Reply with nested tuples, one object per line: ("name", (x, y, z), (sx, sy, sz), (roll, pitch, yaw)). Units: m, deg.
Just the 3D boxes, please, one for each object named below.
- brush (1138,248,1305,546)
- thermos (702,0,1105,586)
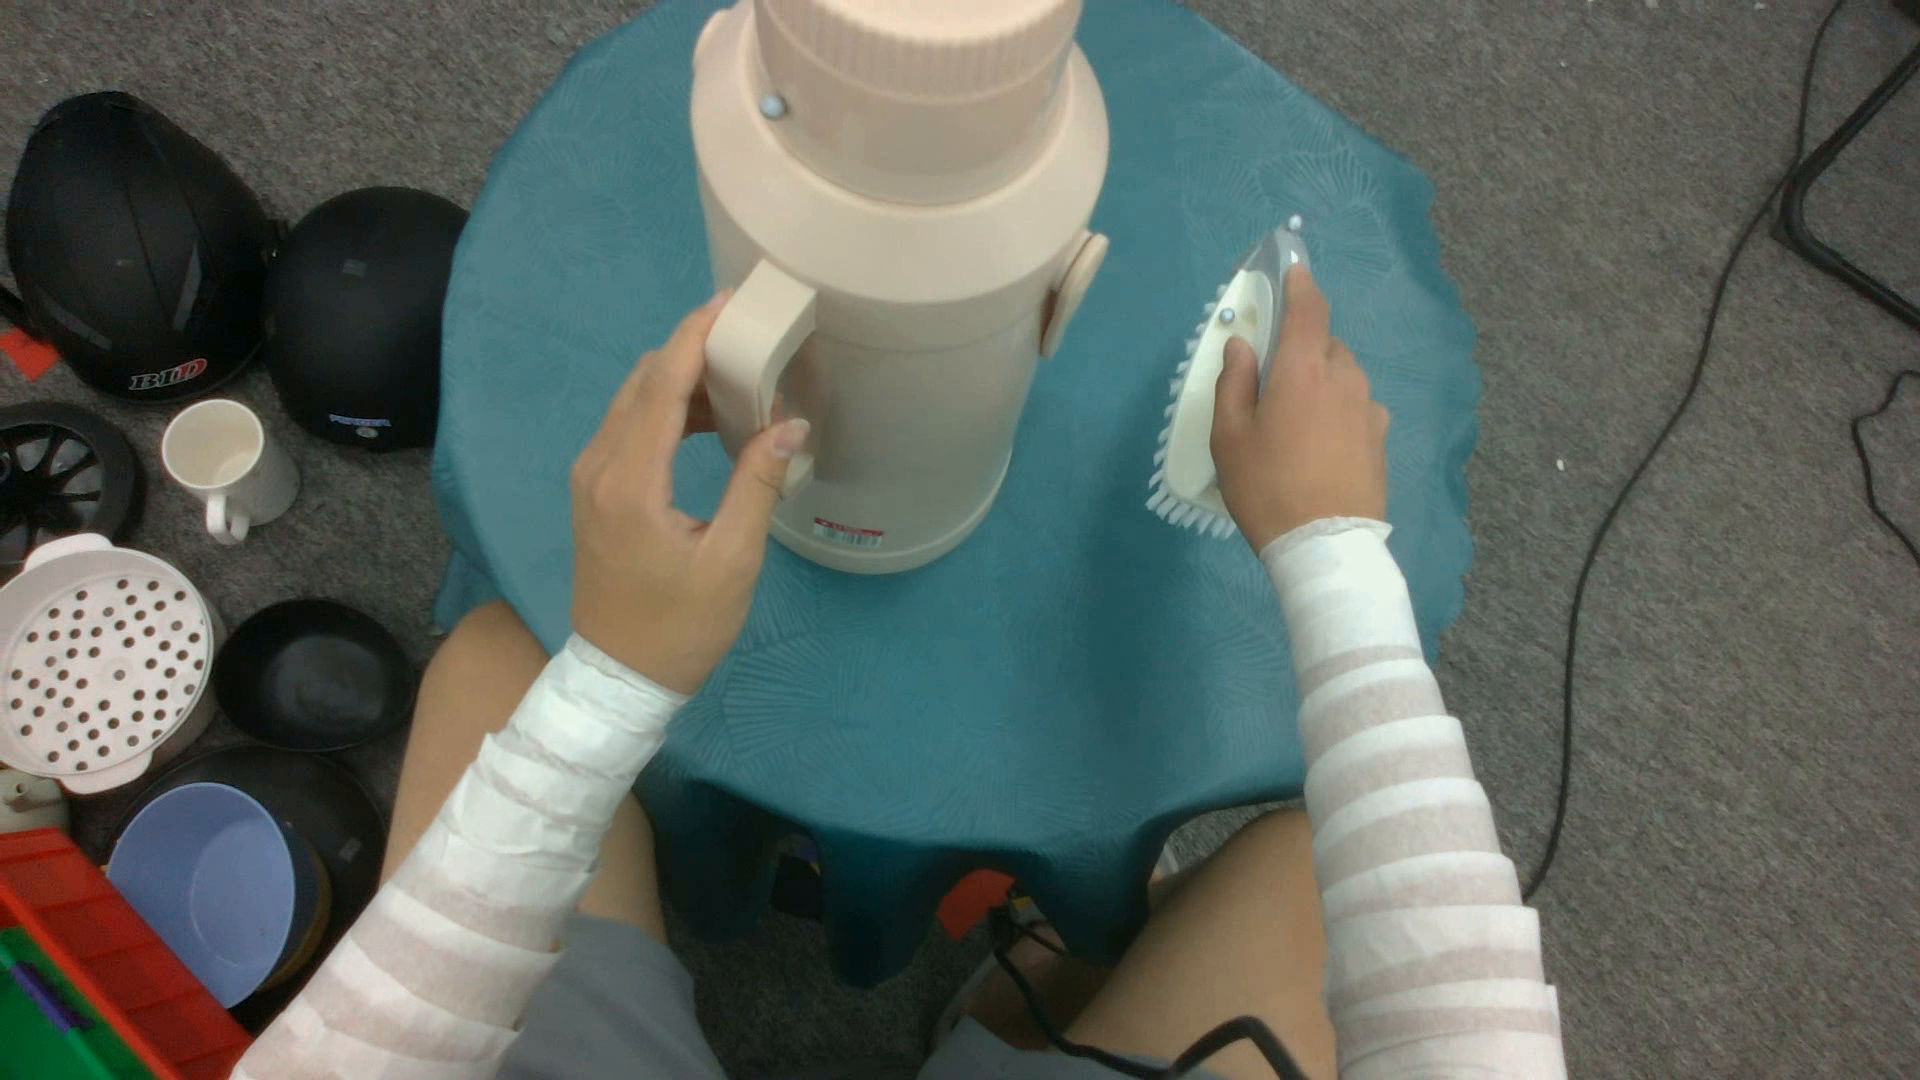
("brush", (0.152, -0.091, 0.746), (0.061, 0.094, 0.176), (21, 70, -11))
("thermos", (-0.039, -0.105, 0.618), (0.175, 0.405, 0.208), (30, 69, 5))
